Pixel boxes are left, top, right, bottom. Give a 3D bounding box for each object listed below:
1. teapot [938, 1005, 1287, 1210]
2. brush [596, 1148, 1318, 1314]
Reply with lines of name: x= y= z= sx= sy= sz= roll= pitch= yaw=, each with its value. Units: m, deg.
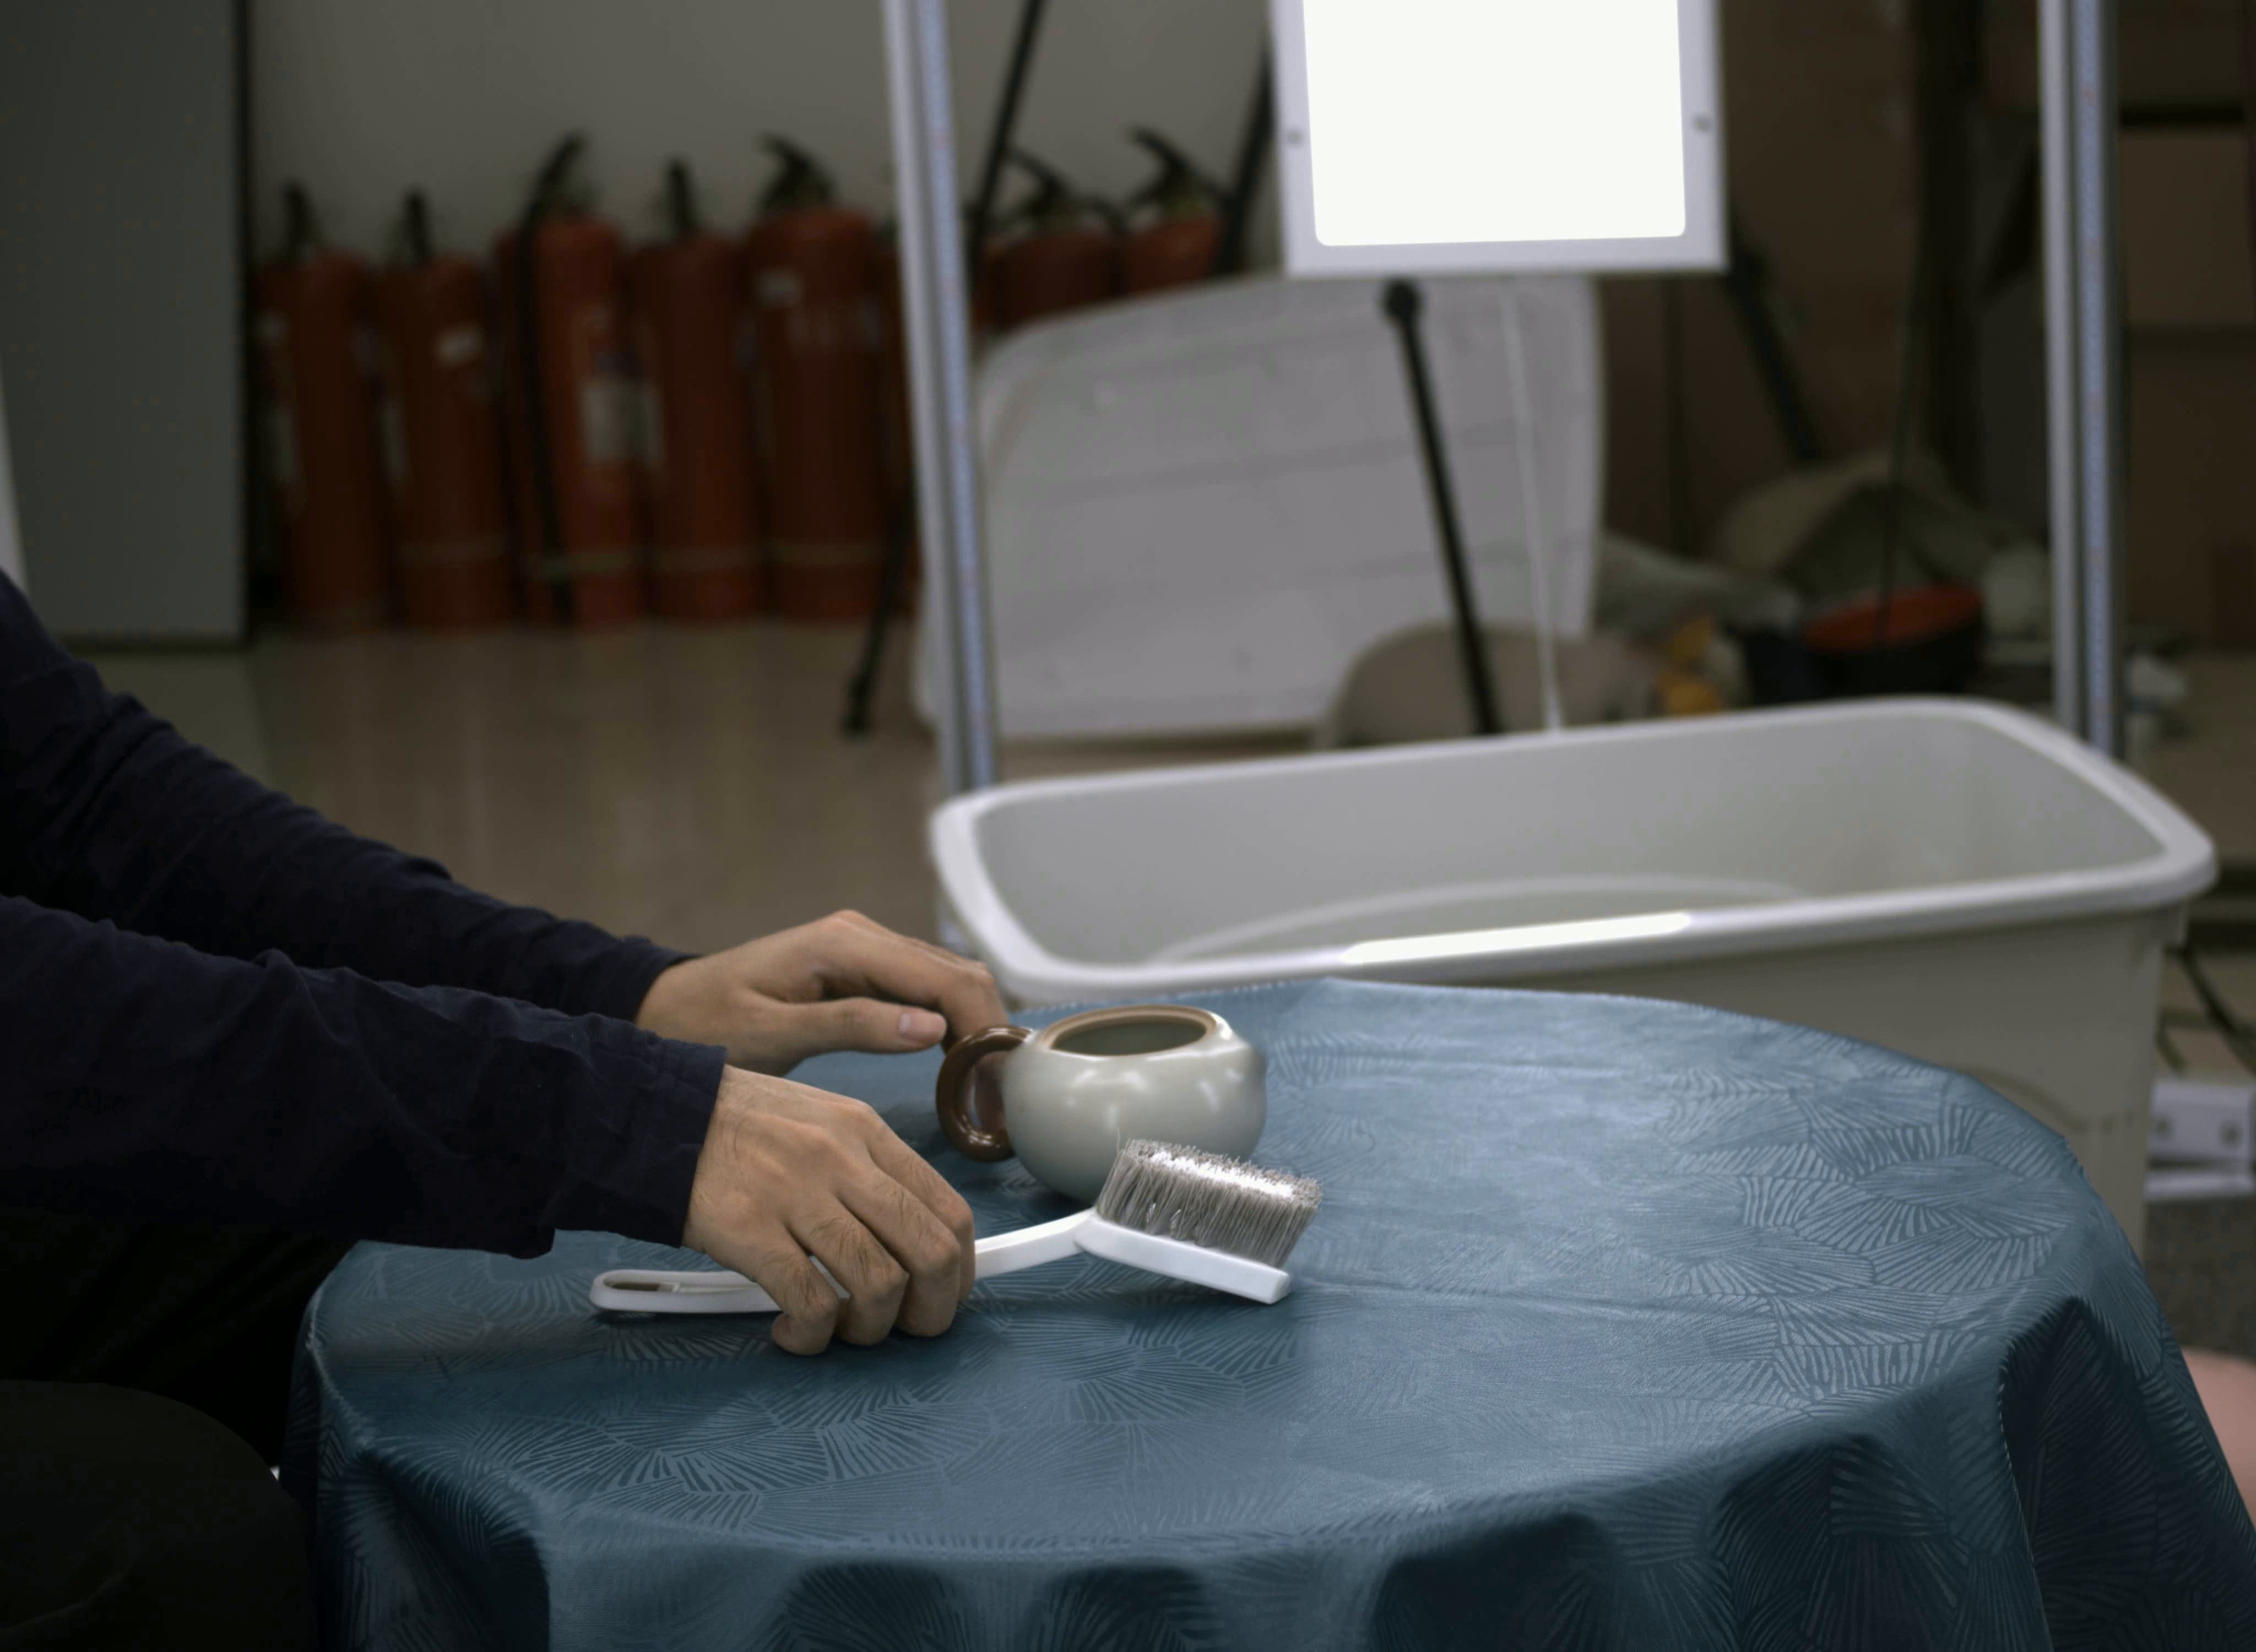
teapot: x=-0.005 y=0.097 z=1.903 sx=0.129 sy=0.060 sz=0.090 roll=0 pitch=17 yaw=18
brush: x=-0.058 y=0.131 z=1.797 sx=0.246 sy=0.050 sz=0.034 roll=-1 pitch=20 yaw=14
